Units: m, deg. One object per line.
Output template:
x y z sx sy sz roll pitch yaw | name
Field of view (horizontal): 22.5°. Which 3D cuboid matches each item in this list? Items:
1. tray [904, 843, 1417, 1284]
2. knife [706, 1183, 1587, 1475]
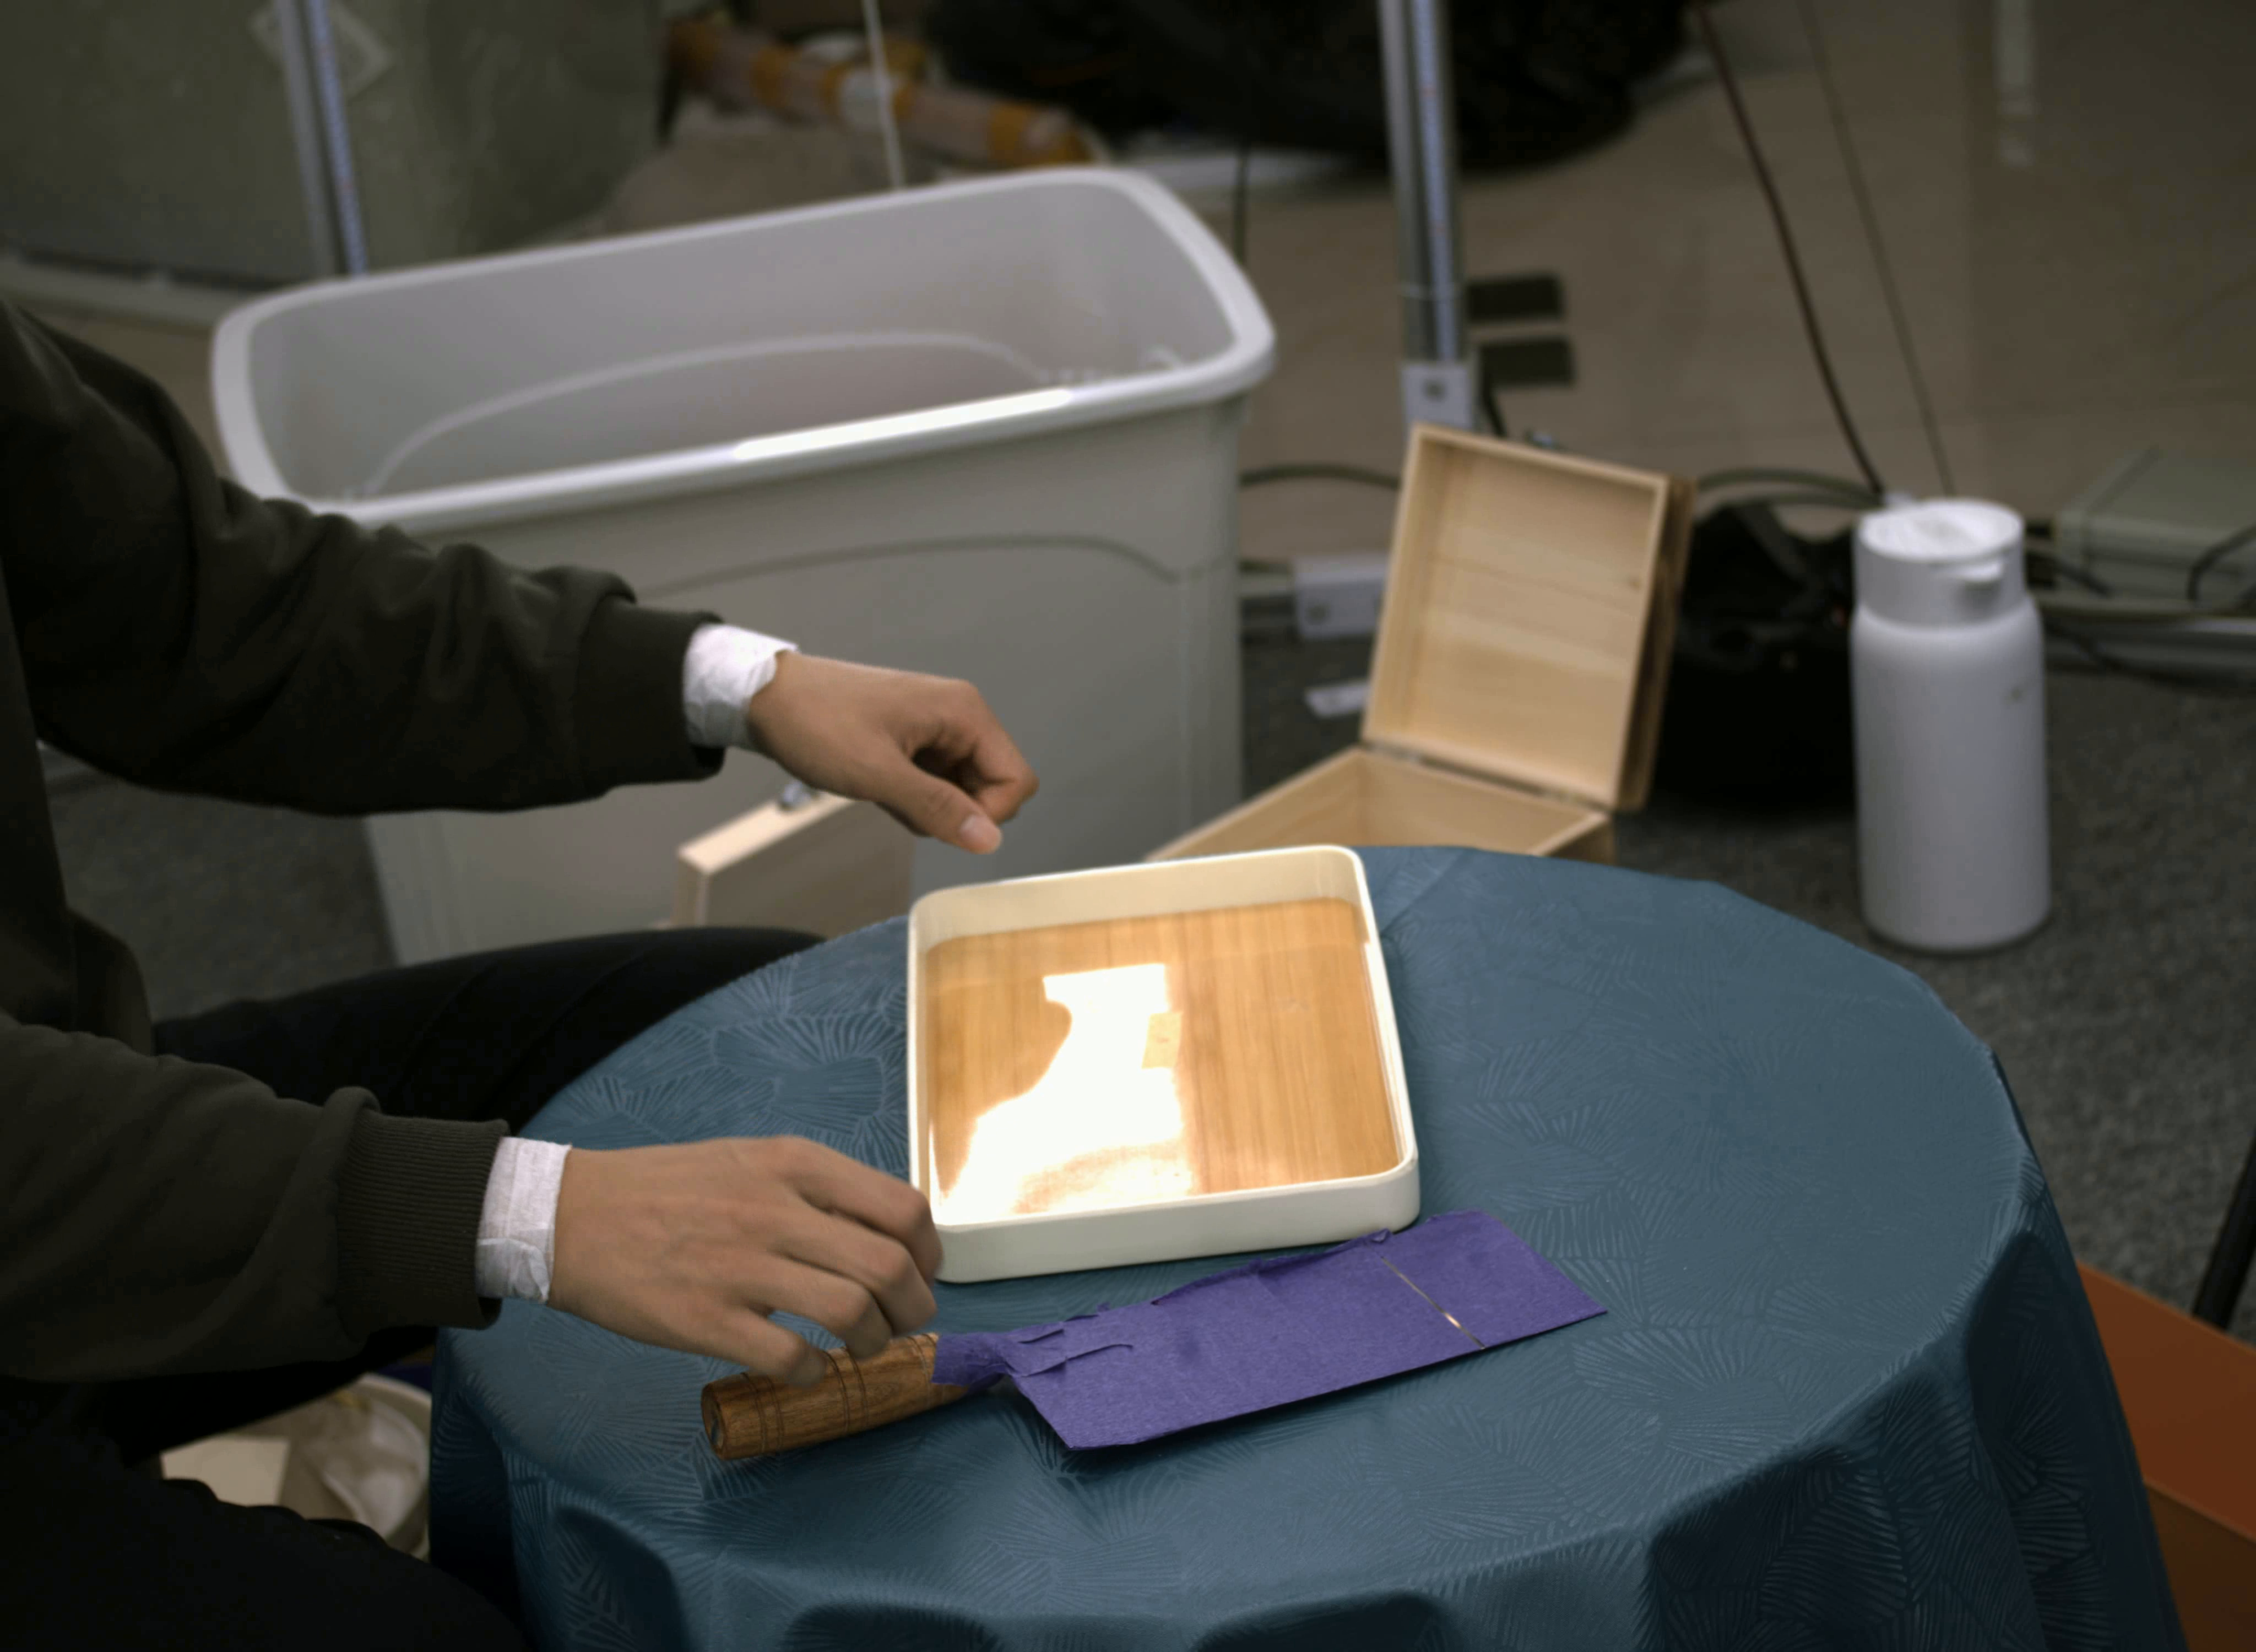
0.008 0.089 2.225 0.191 0.028 0.296 -7 25 1 | tray
0.010 0.185 2.016 0.314 0.033 0.102 -16 25 -20 | knife
